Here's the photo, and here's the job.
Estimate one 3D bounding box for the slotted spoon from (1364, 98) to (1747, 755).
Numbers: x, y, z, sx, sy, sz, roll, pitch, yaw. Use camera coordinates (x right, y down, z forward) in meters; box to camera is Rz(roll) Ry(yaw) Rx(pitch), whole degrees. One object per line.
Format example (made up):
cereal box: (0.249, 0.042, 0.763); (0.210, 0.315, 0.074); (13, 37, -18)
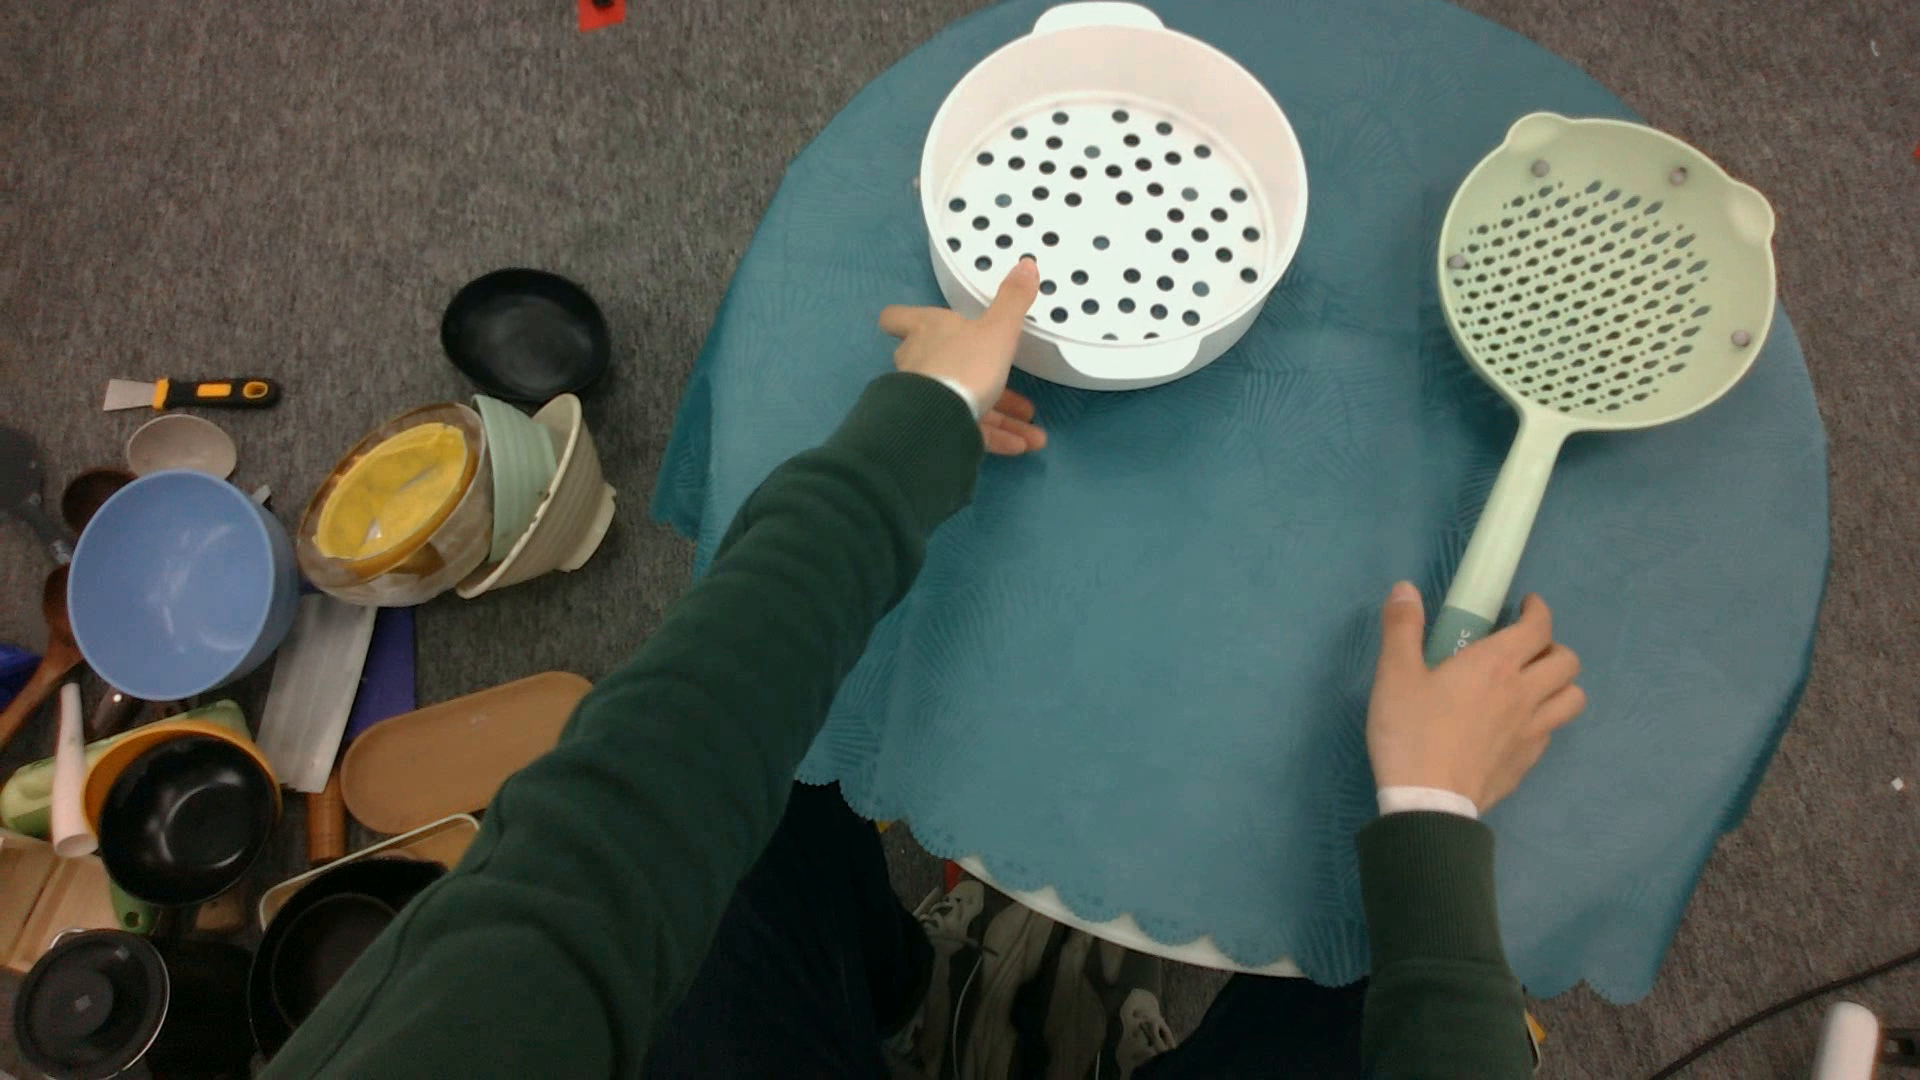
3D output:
slotted spoon: (0.282, -0.059, 0.705); (0.169, 0.075, 0.360); (24, 71, 7)

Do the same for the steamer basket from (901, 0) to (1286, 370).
steamer basket: (0.070, -0.189, 0.747); (0.202, 0.069, 0.231); (-4, 70, -2)
